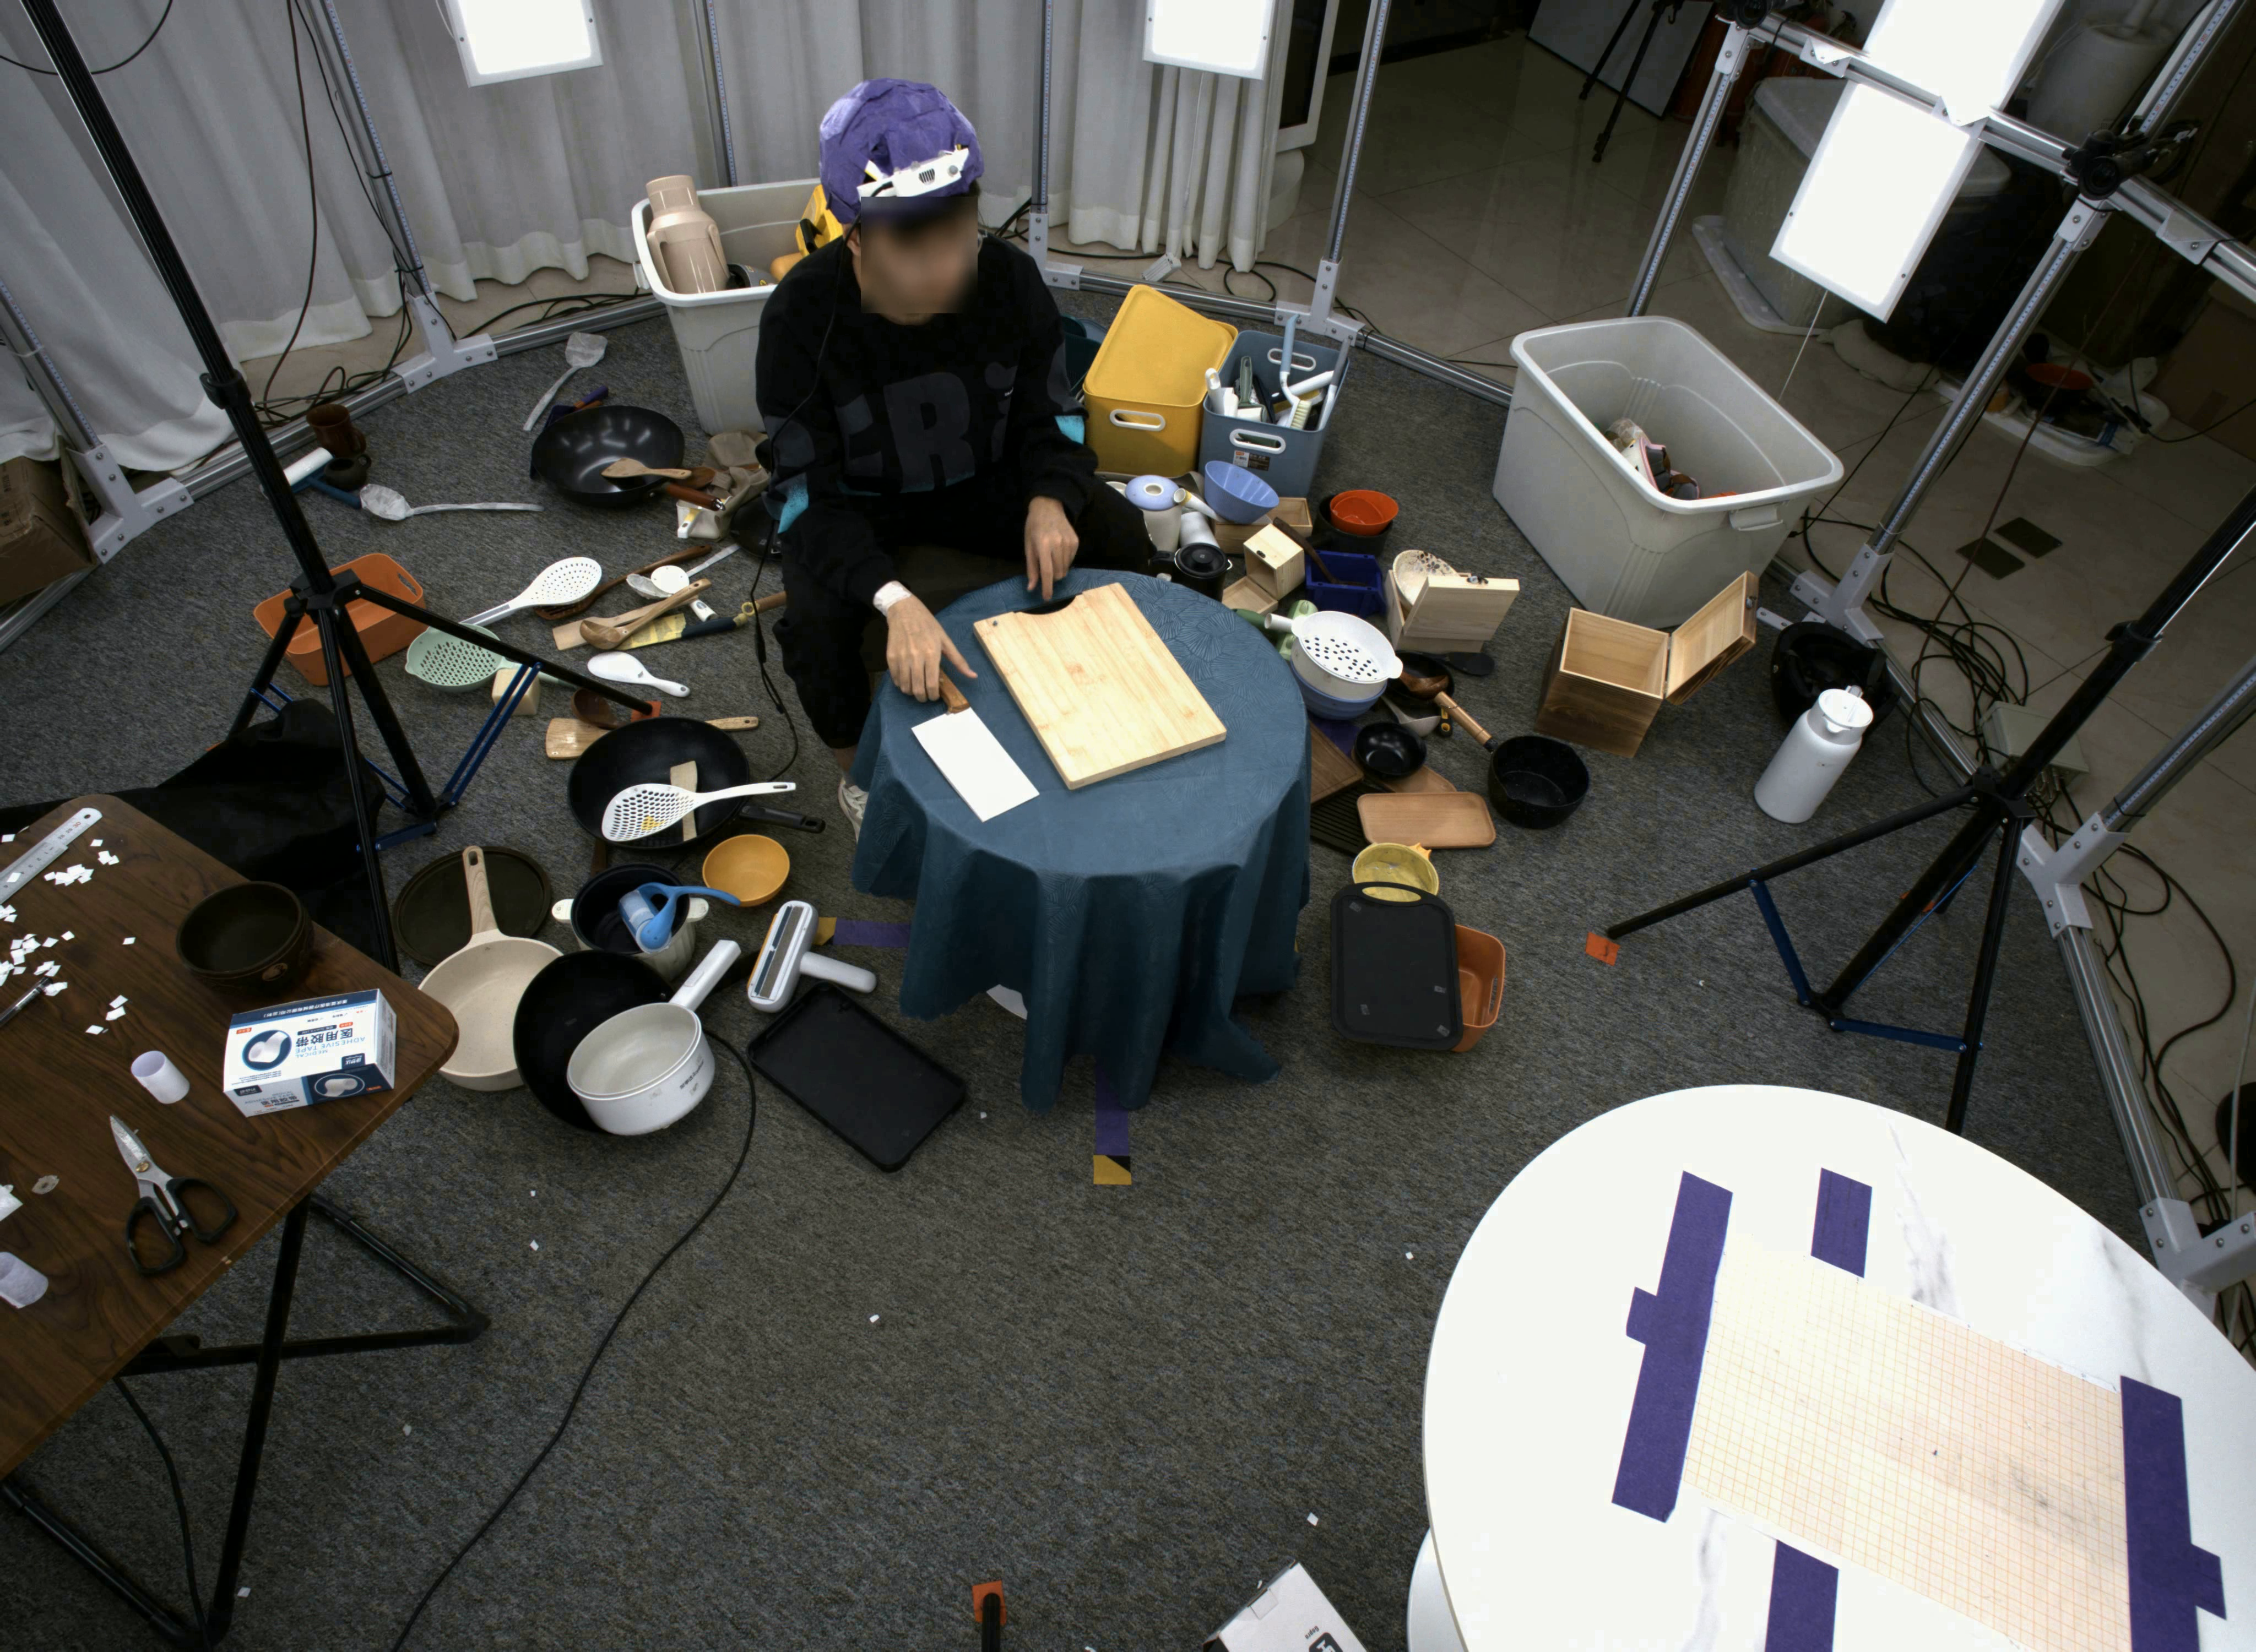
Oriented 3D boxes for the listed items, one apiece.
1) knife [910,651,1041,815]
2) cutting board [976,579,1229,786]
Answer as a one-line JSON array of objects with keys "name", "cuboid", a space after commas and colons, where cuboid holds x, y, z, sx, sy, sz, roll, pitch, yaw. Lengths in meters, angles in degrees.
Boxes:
[{"name": "knife", "cuboid": [-0.234, -0.127, 1.754, 0.093, 0.020, 0.311, -26, 58, -22]}, {"name": "cutting board", "cuboid": [-0.043, -0.213, 1.840, 0.251, 0.023, 0.356, -19, 53, -19]}]
